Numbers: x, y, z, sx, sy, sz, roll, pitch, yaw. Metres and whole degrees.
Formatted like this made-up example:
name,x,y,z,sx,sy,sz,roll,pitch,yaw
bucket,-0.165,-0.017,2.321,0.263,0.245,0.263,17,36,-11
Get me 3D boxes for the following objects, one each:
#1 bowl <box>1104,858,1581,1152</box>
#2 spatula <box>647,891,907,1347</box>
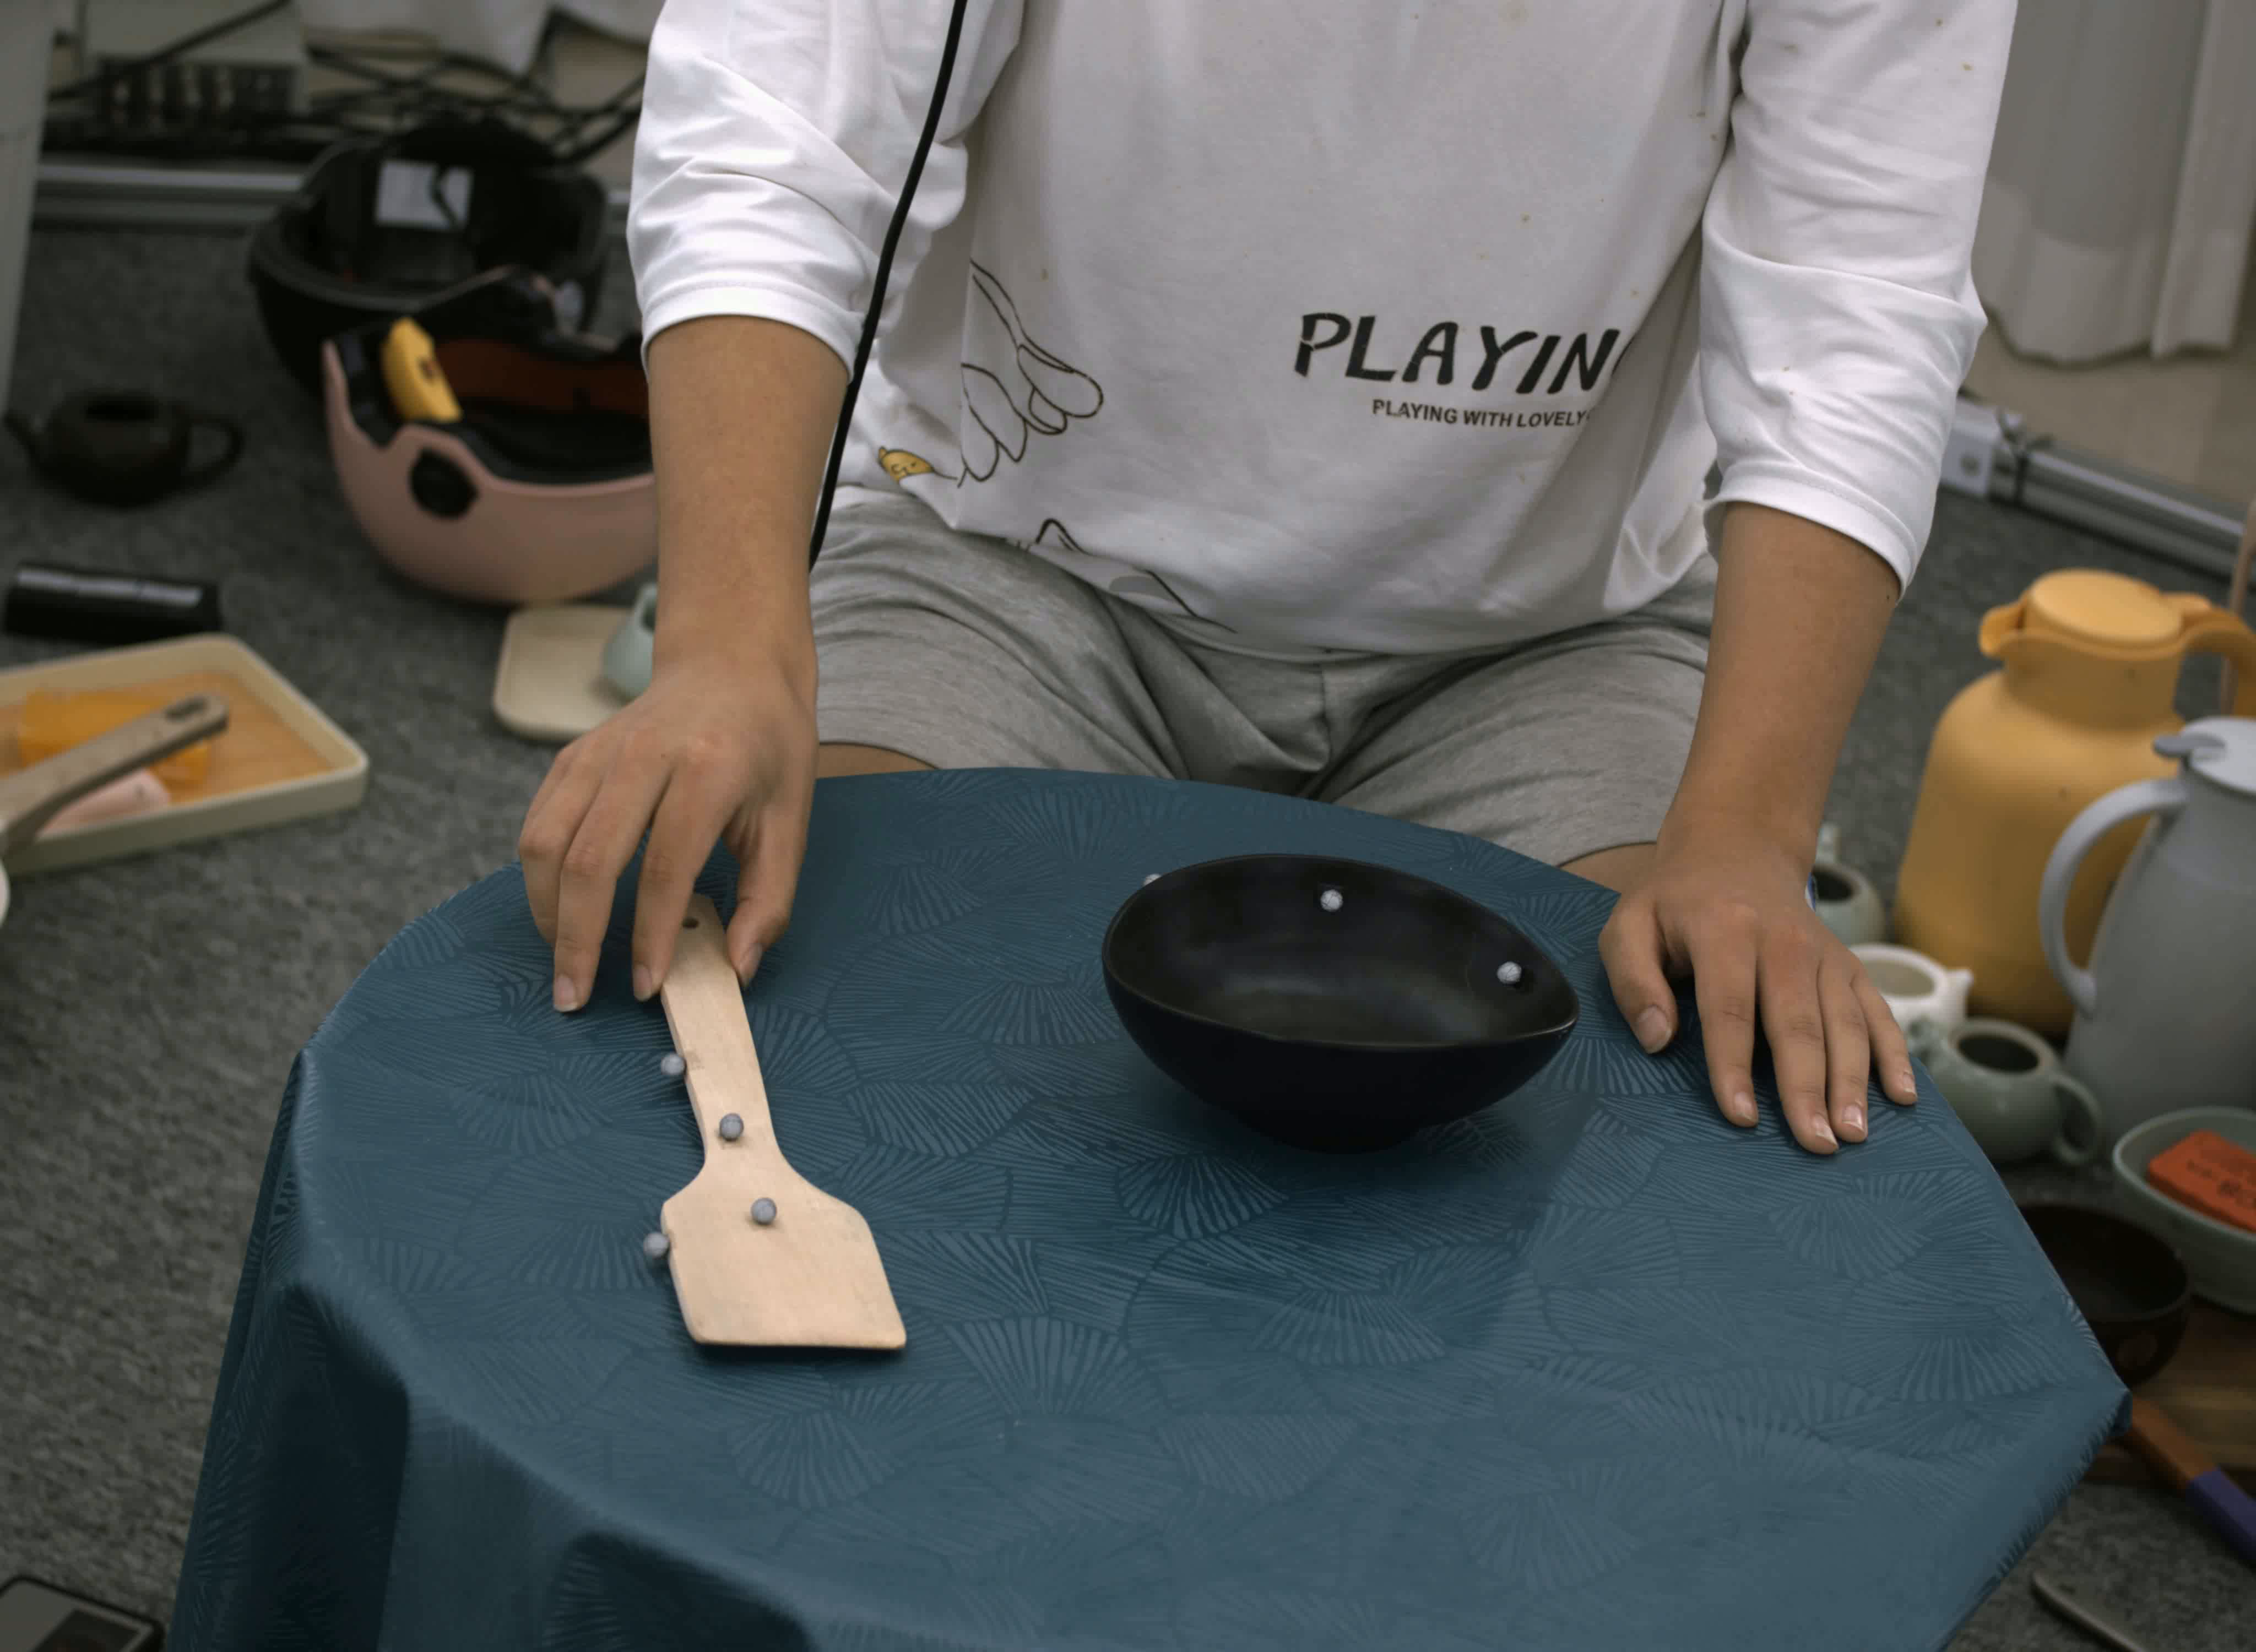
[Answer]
name,x,y,z,sx,sy,sz,roll,pitch,yaw
bowl,0.072,0.069,1.860,0.169,0.066,0.138,3,26,-12
spatula,-0.134,0.096,1.813,0.072,0.010,0.295,2,28,-14
